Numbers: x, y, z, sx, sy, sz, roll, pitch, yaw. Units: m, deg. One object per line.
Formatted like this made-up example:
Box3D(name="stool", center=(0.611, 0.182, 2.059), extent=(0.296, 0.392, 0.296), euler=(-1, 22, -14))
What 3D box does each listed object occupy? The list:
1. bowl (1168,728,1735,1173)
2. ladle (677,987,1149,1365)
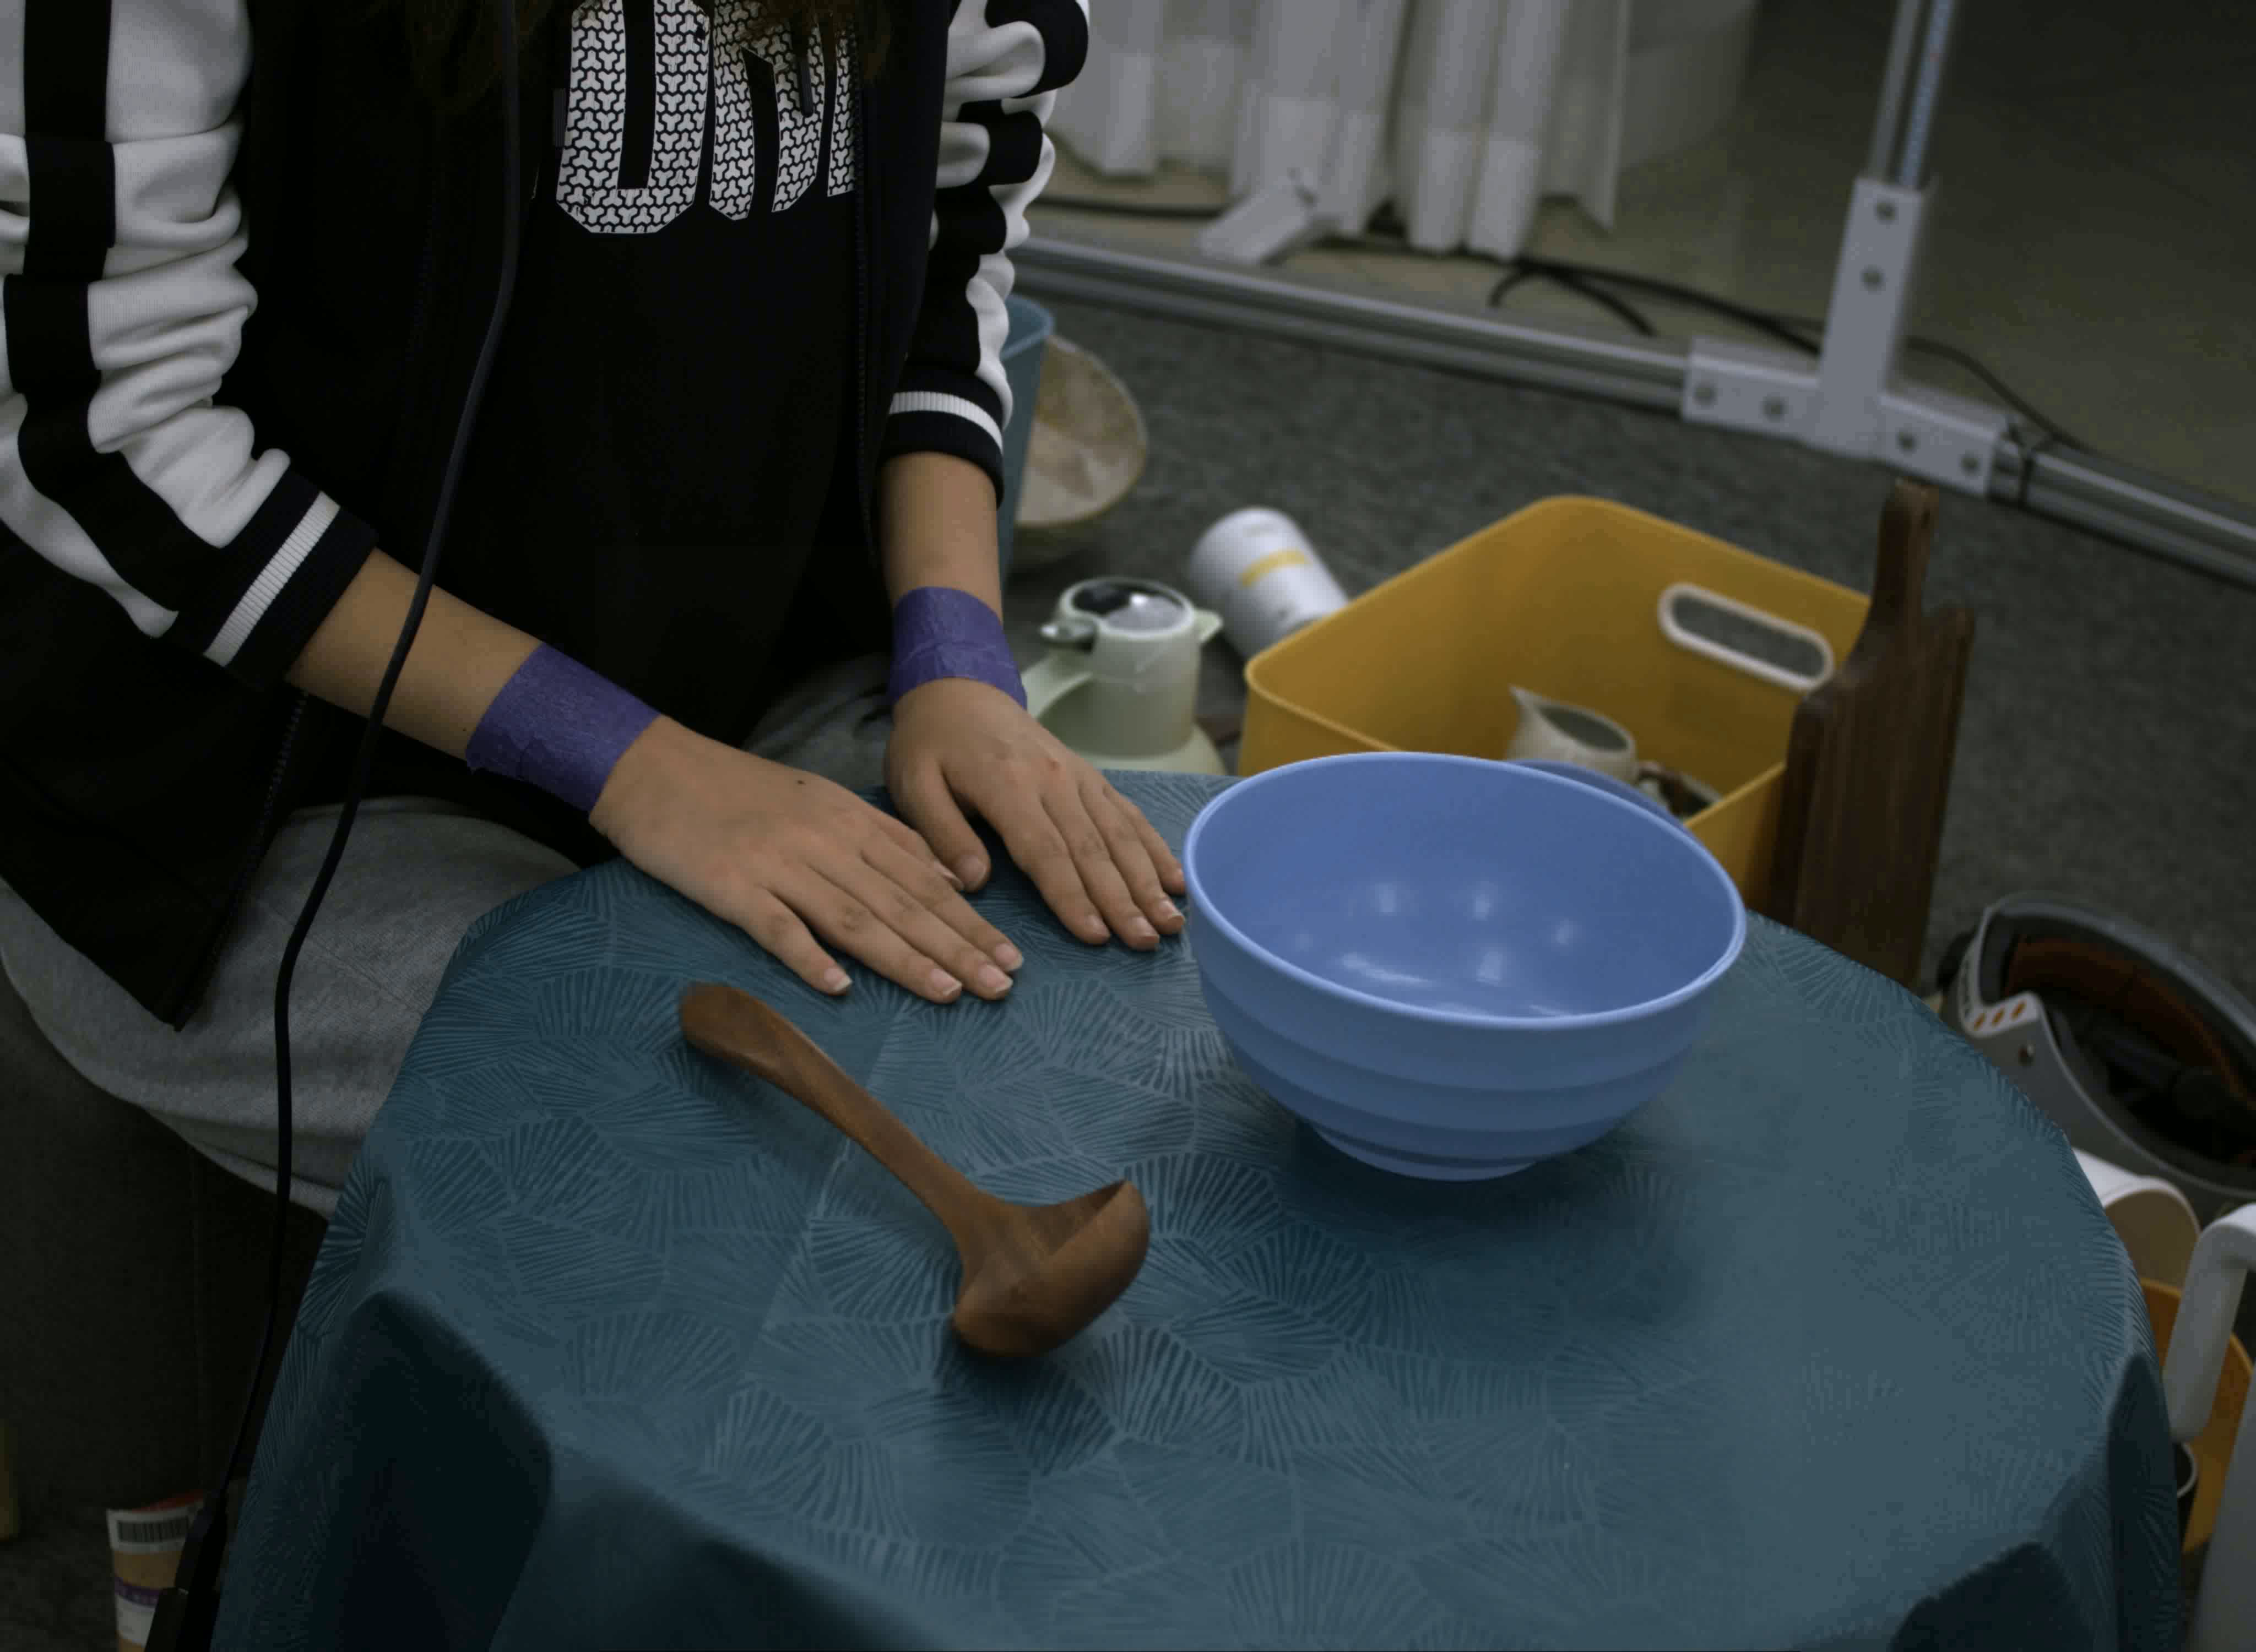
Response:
Box3D(name="bowl", center=(0.108, 0.056, 1.856), extent=(0.196, 0.095, 0.198), euler=(3, 33, -2))
Box3D(name="ladle", center=(-0.083, 0.101, 1.763), extent=(0.076, 0.064, 0.262), euler=(-37, 44, -17))
